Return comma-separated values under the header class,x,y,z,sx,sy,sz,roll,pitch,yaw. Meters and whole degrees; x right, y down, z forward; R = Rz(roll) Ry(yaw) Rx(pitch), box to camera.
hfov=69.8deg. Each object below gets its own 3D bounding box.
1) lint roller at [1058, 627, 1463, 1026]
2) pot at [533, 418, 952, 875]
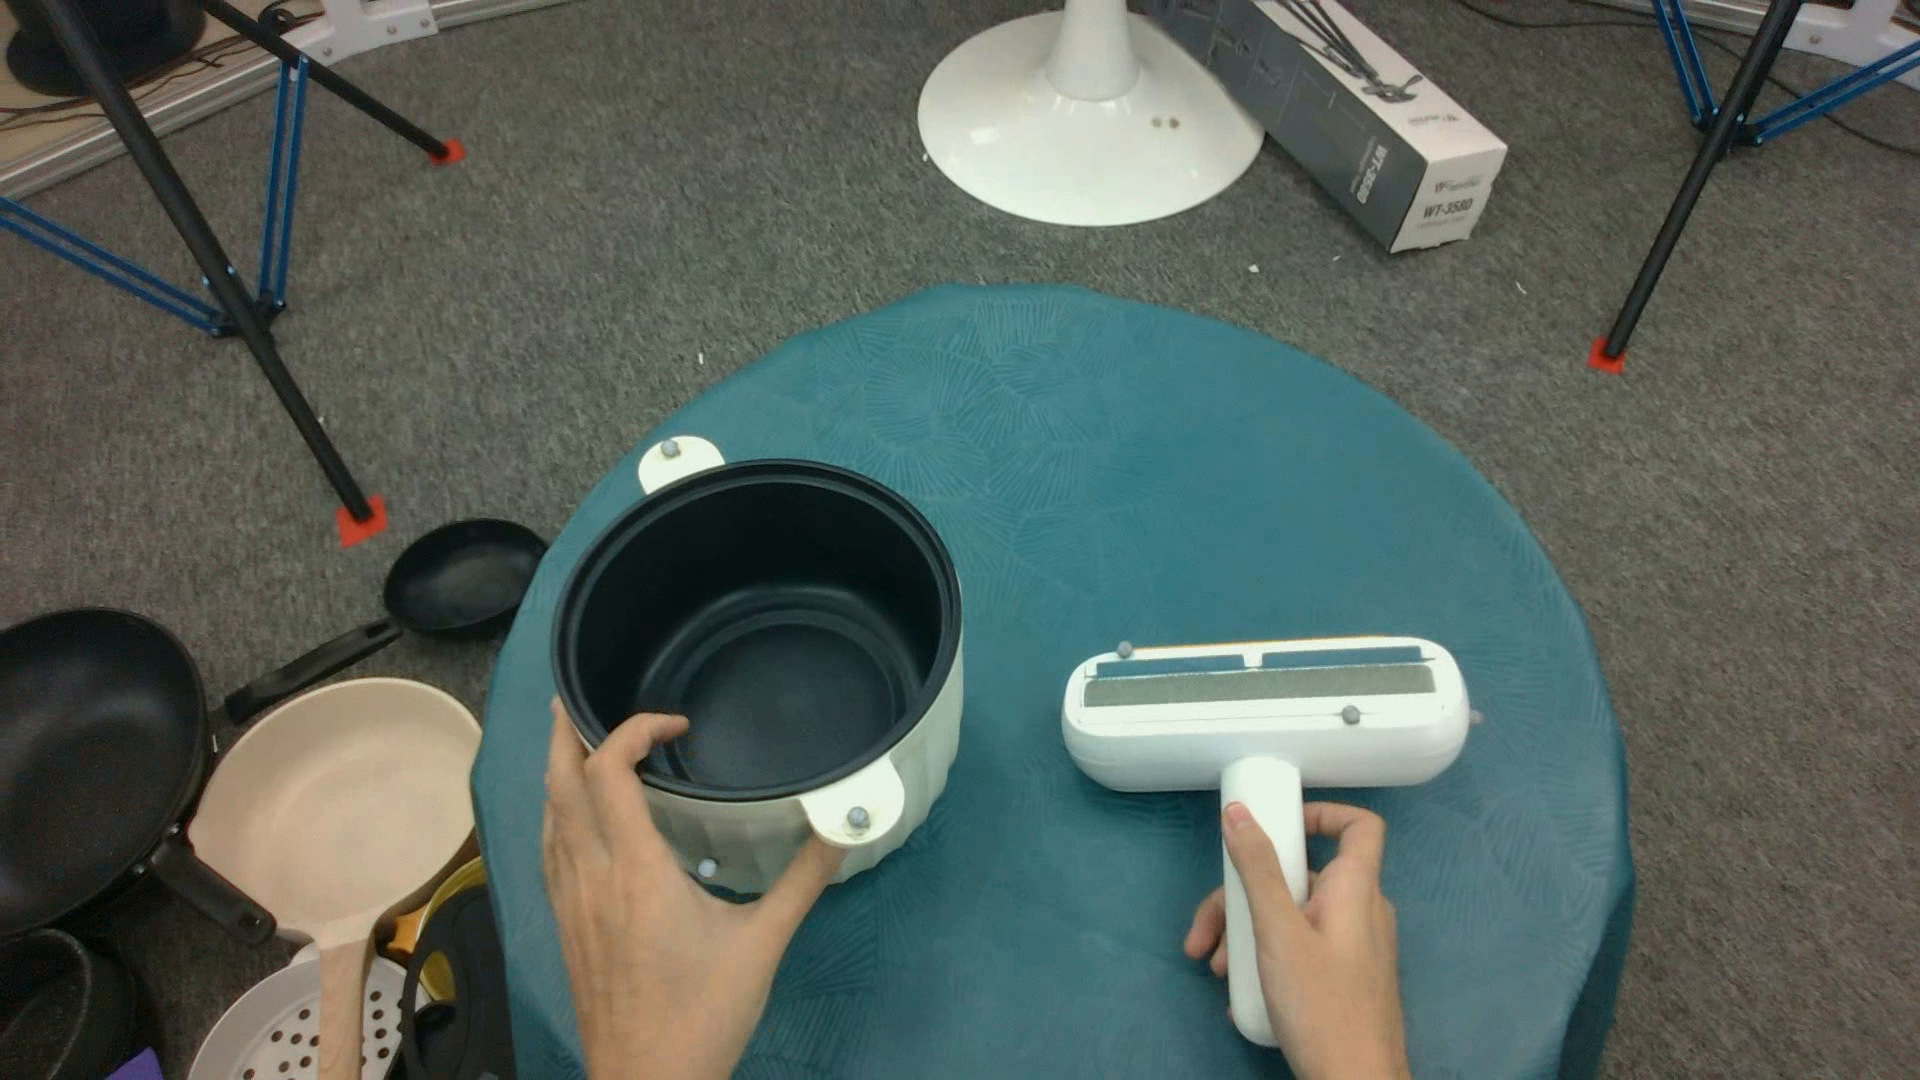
class,x,y,z,sx,sy,sz,roll,pitch,yaw
lint roller,0.136,0.126,0.646,0.192,0.074,0.193,1,49,13
pot,-0.101,0.066,0.658,0.191,0.142,0.241,-22,55,-19
